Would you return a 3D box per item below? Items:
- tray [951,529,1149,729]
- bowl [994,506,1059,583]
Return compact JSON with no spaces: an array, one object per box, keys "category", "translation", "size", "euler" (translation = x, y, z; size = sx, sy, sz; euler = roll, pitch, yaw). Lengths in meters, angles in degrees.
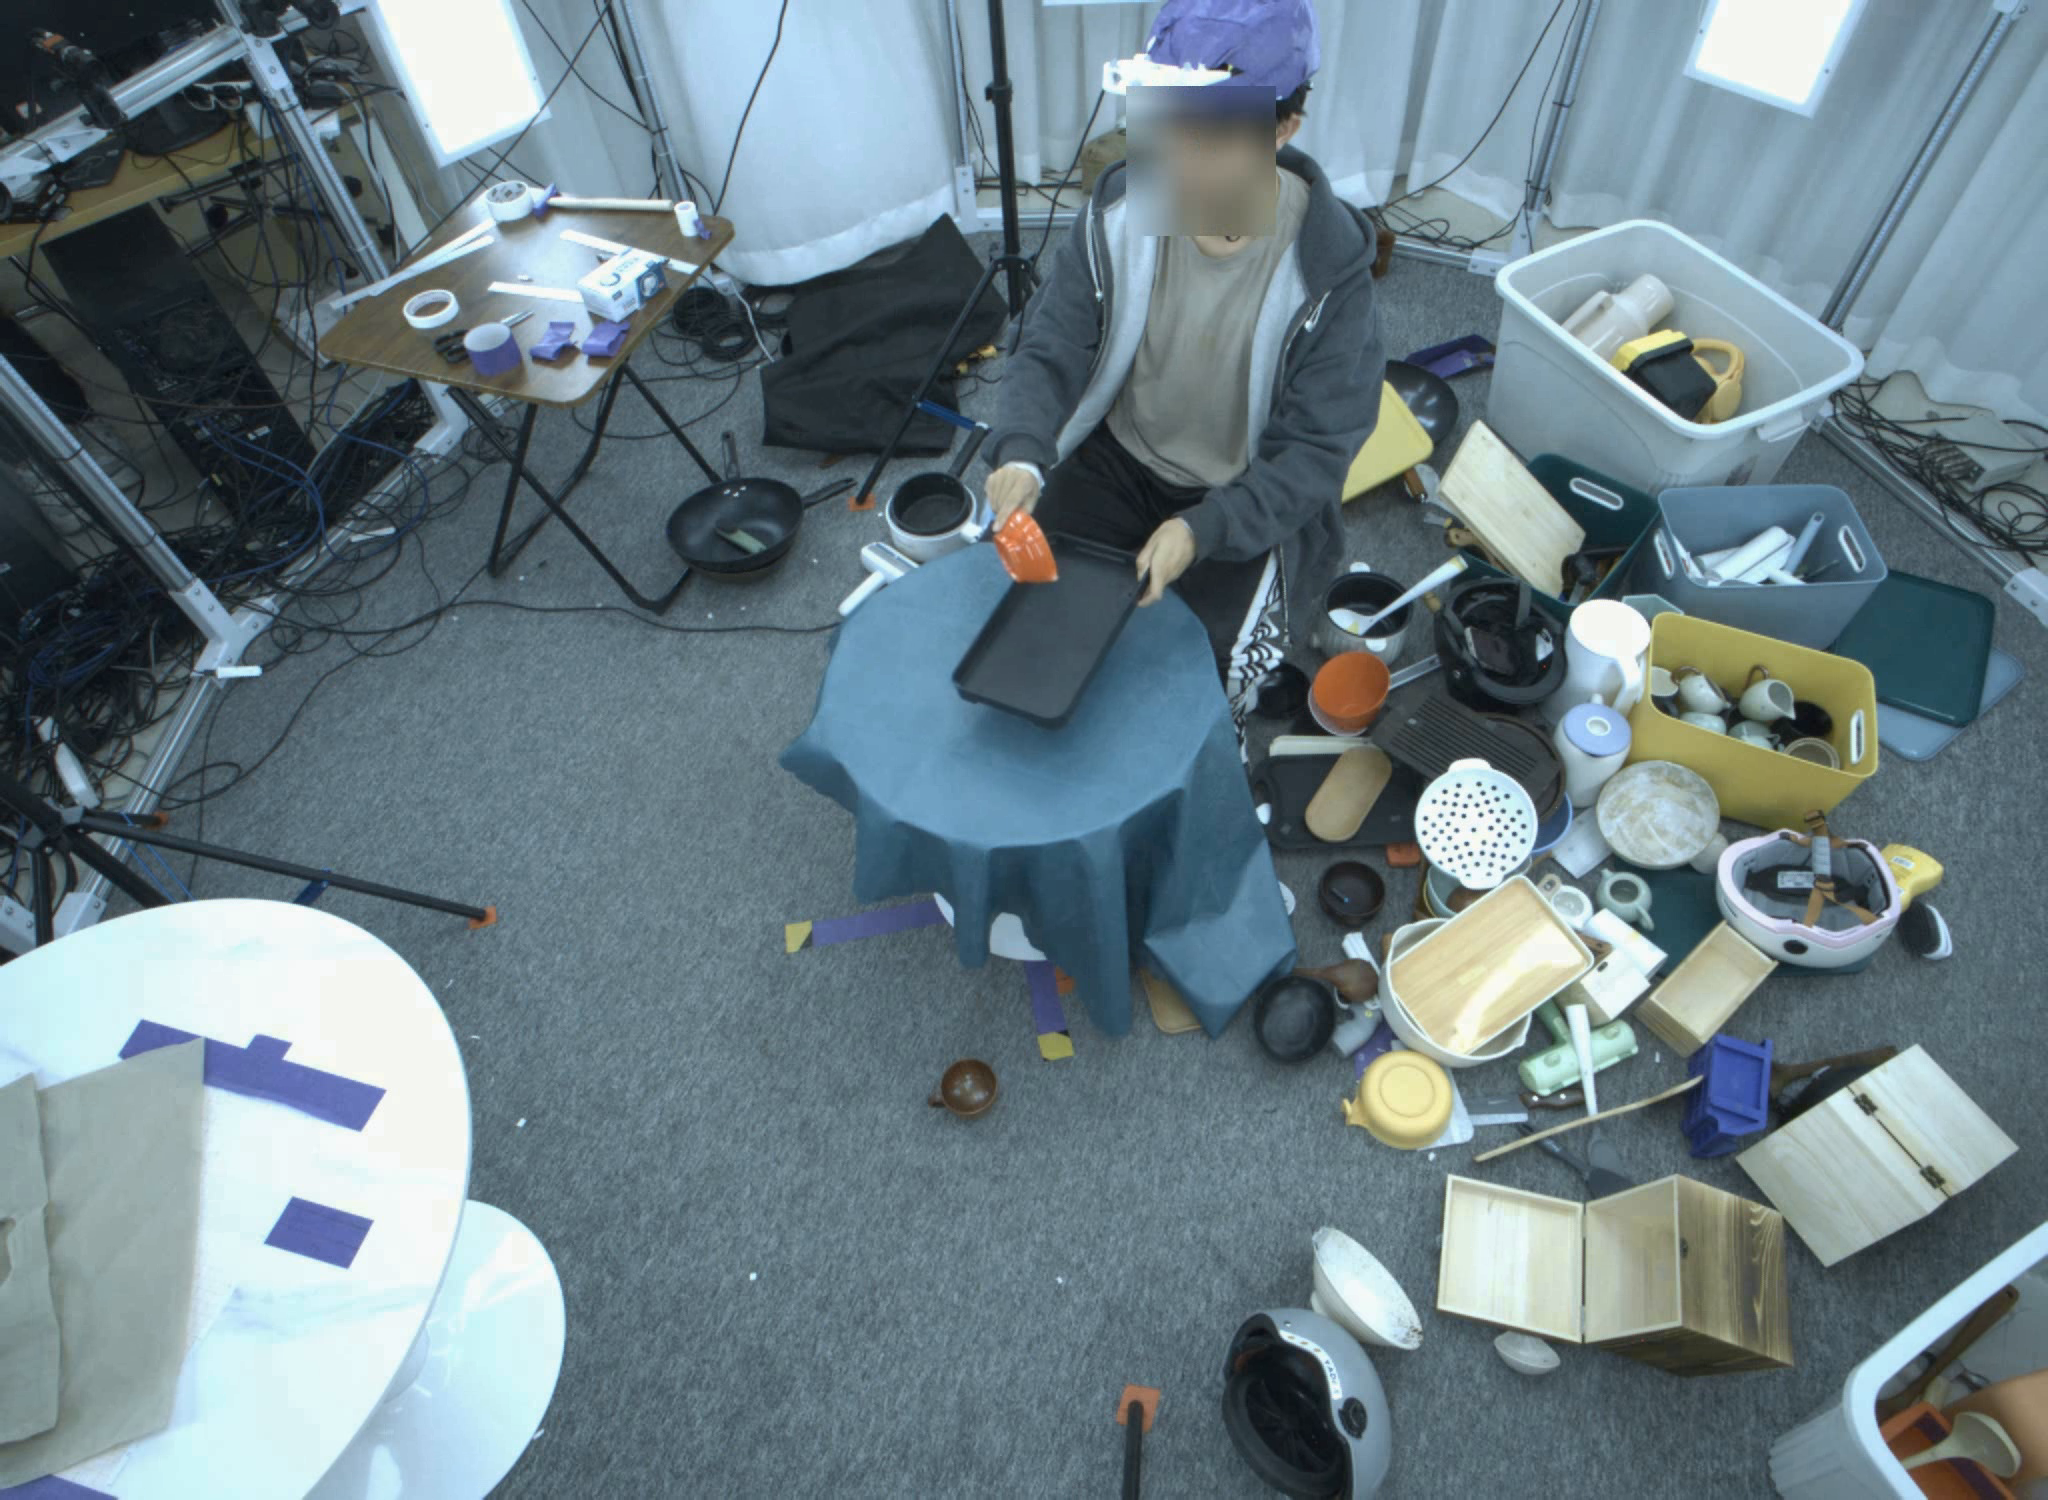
[{"category":"tray","translation":[0.042,-0.182,1.791],"size":[0.181,0.037,0.318],"euler":[20,63,20]},{"category":"bowl","translation":[-0.003,-0.279,1.715],"size":[0.051,0.121,0.117],"euler":[-30,58,-6]}]
